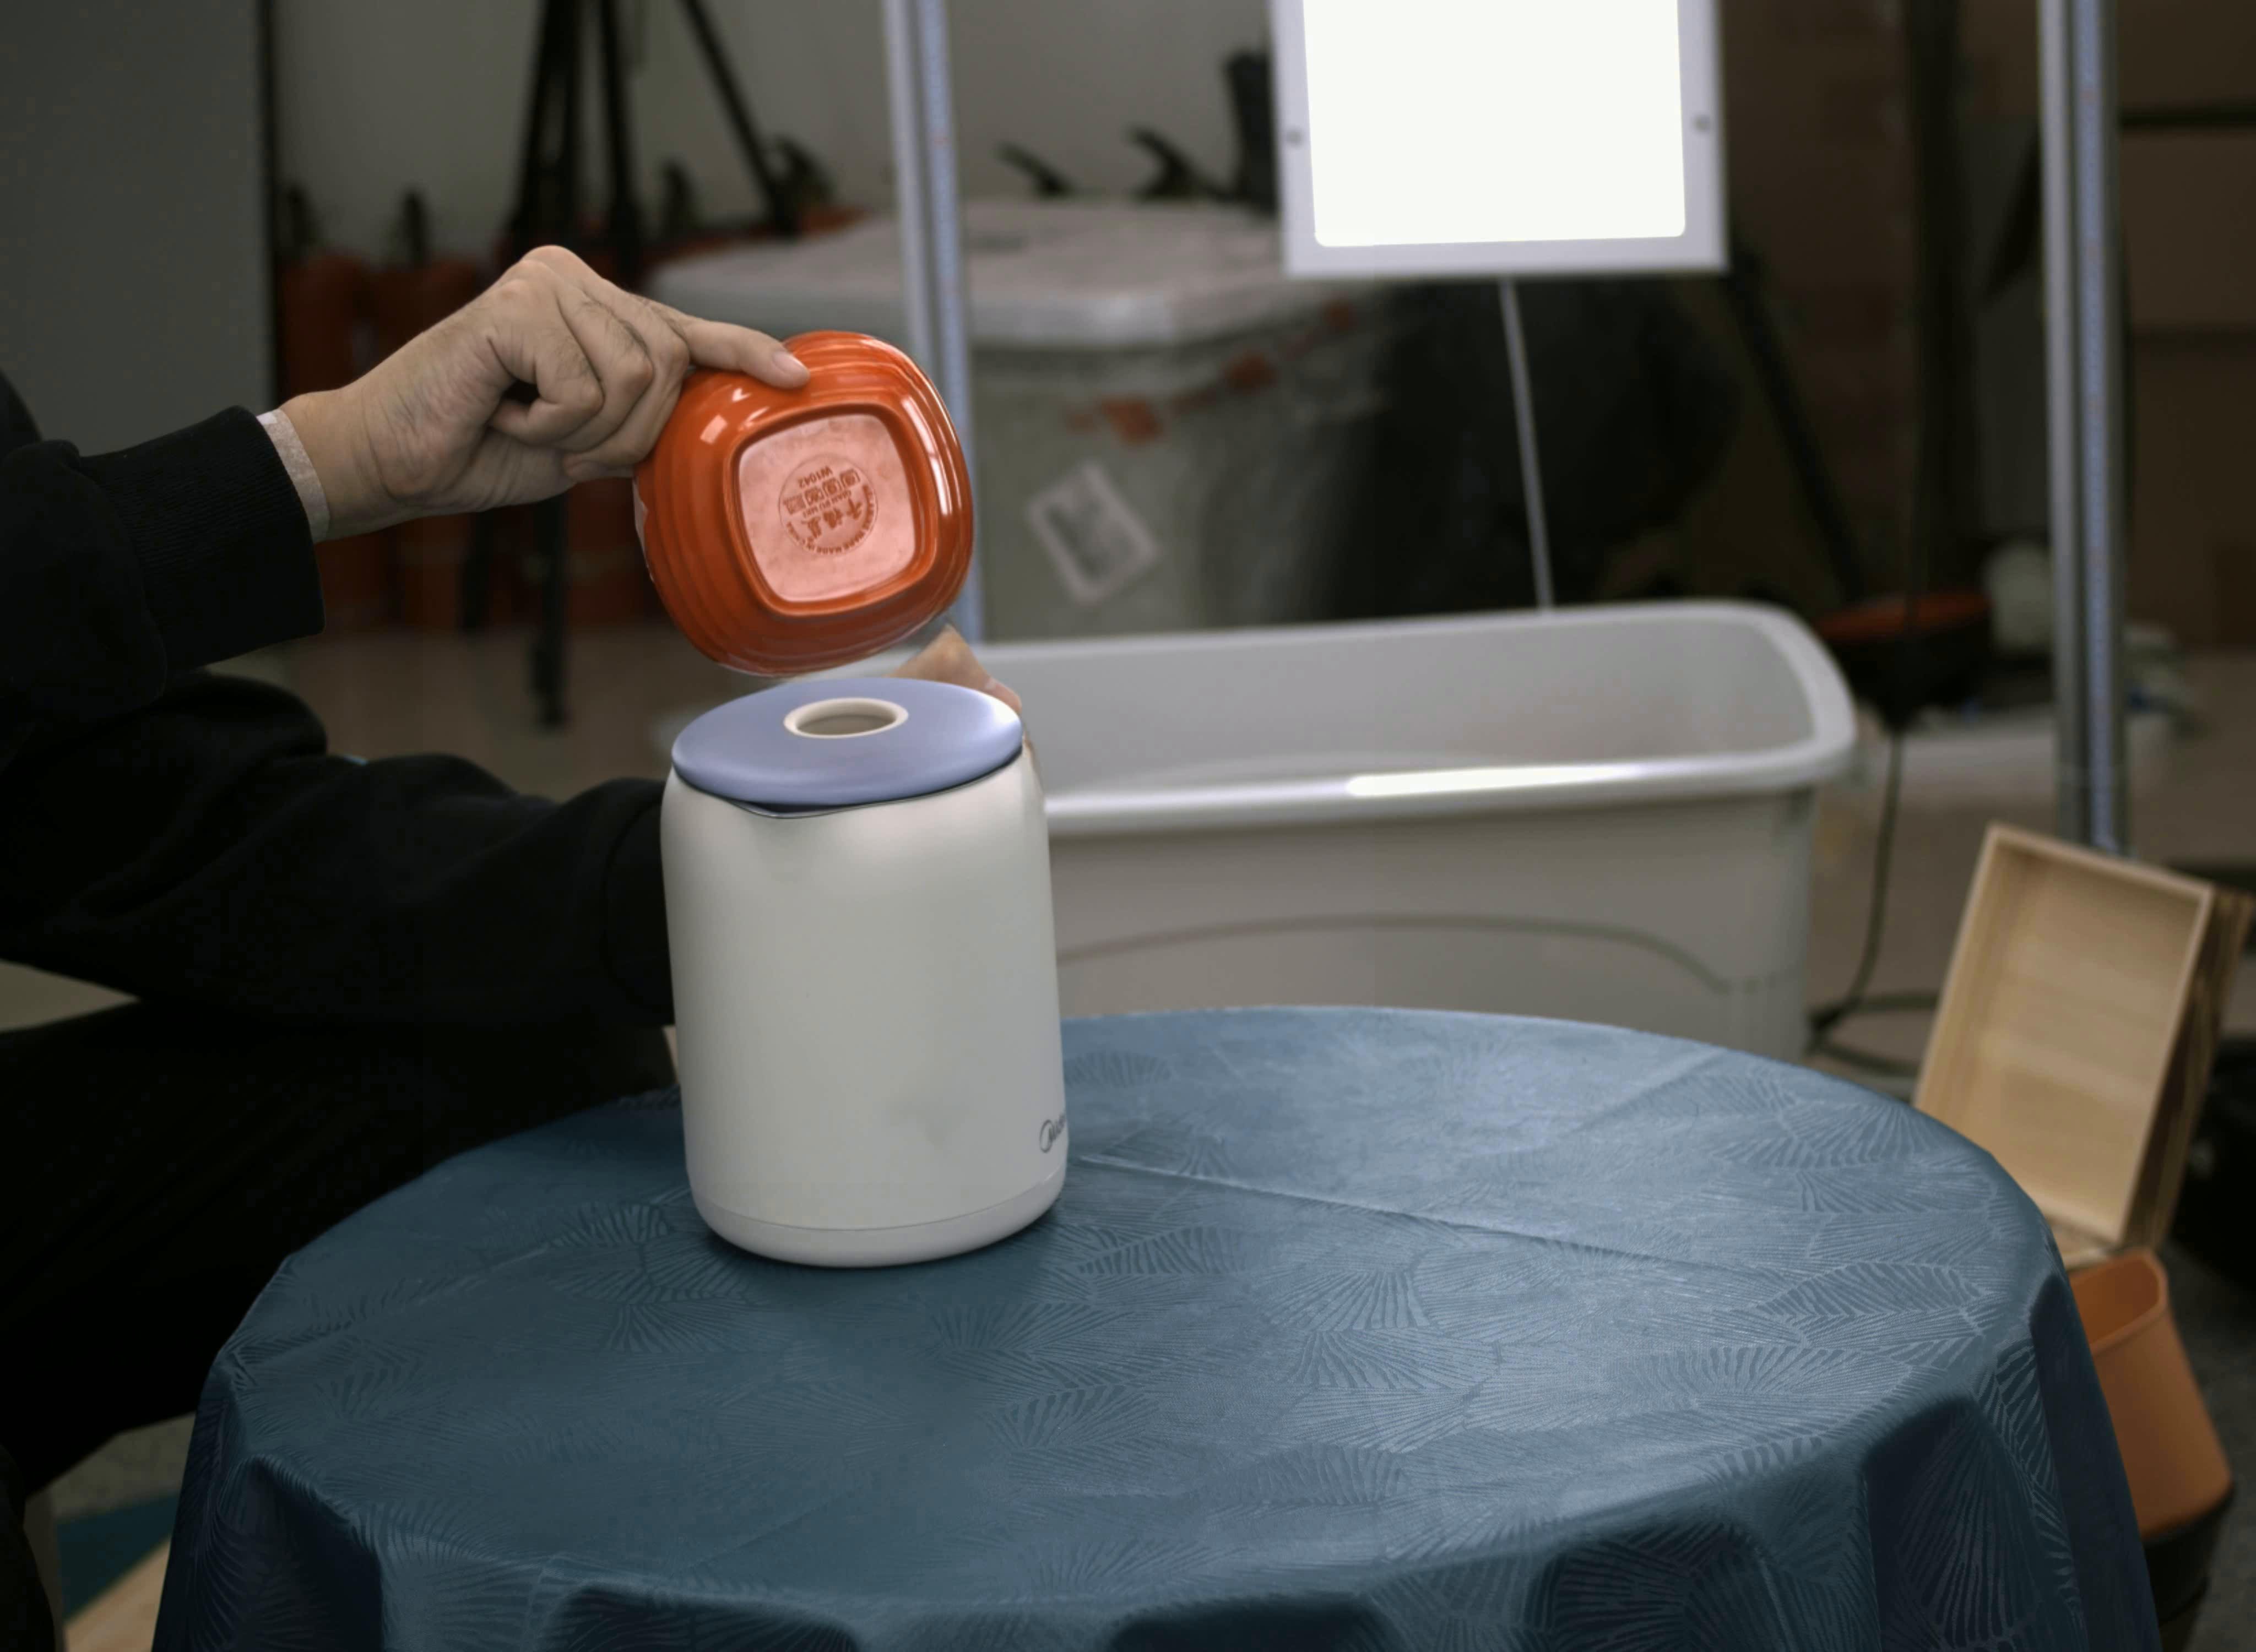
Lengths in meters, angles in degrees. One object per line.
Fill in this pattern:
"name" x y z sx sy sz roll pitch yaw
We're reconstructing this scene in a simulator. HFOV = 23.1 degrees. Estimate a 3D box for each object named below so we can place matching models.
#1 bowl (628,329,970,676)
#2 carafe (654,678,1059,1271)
"bowl" -0.102 -0.102 1.765 0.117 0.119 0.052 -7 9 -9
"carafe" -0.085 0.042 1.887 0.133 0.183 0.188 3 18 15
